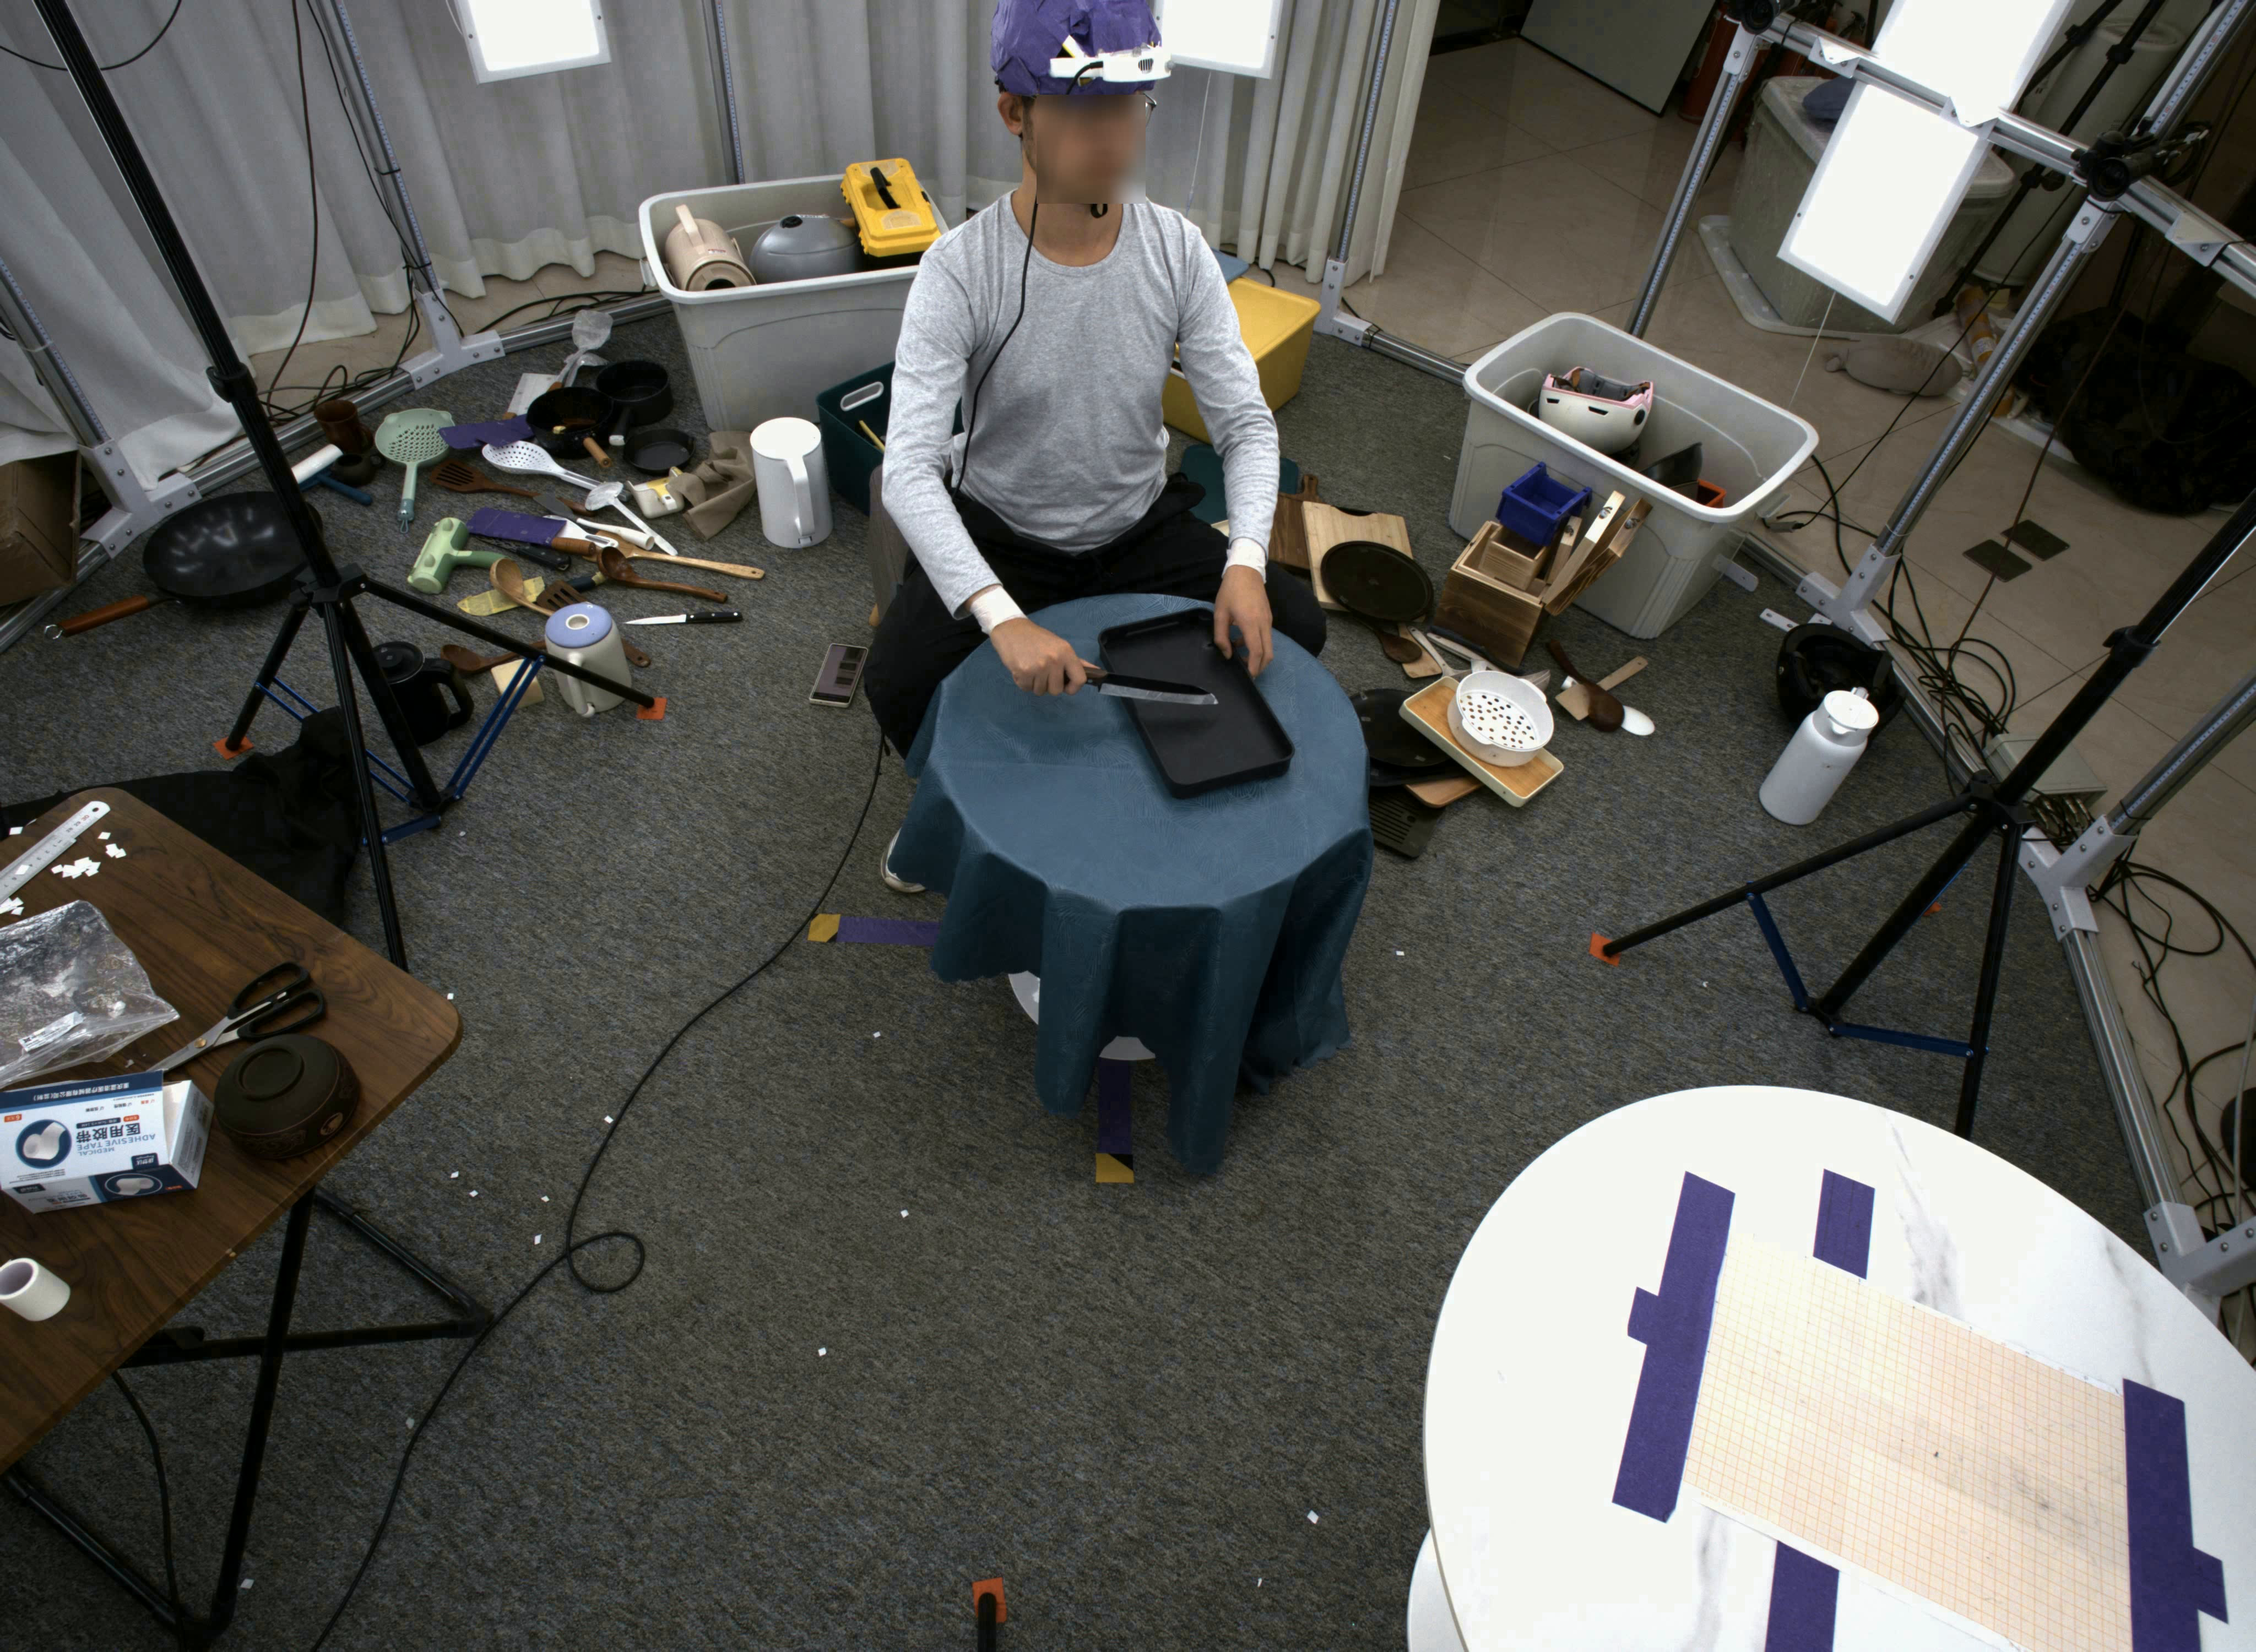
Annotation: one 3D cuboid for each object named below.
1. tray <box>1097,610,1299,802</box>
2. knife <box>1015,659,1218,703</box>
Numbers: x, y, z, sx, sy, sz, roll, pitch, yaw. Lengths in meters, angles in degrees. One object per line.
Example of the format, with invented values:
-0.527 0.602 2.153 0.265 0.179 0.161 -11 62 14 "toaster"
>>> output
0.092 -0.174 1.799 0.184 0.036 0.325 -16 52 -15 "tray"
-0.013 -0.195 1.756 0.288 0.049 0.020 8 57 -12 "knife"
